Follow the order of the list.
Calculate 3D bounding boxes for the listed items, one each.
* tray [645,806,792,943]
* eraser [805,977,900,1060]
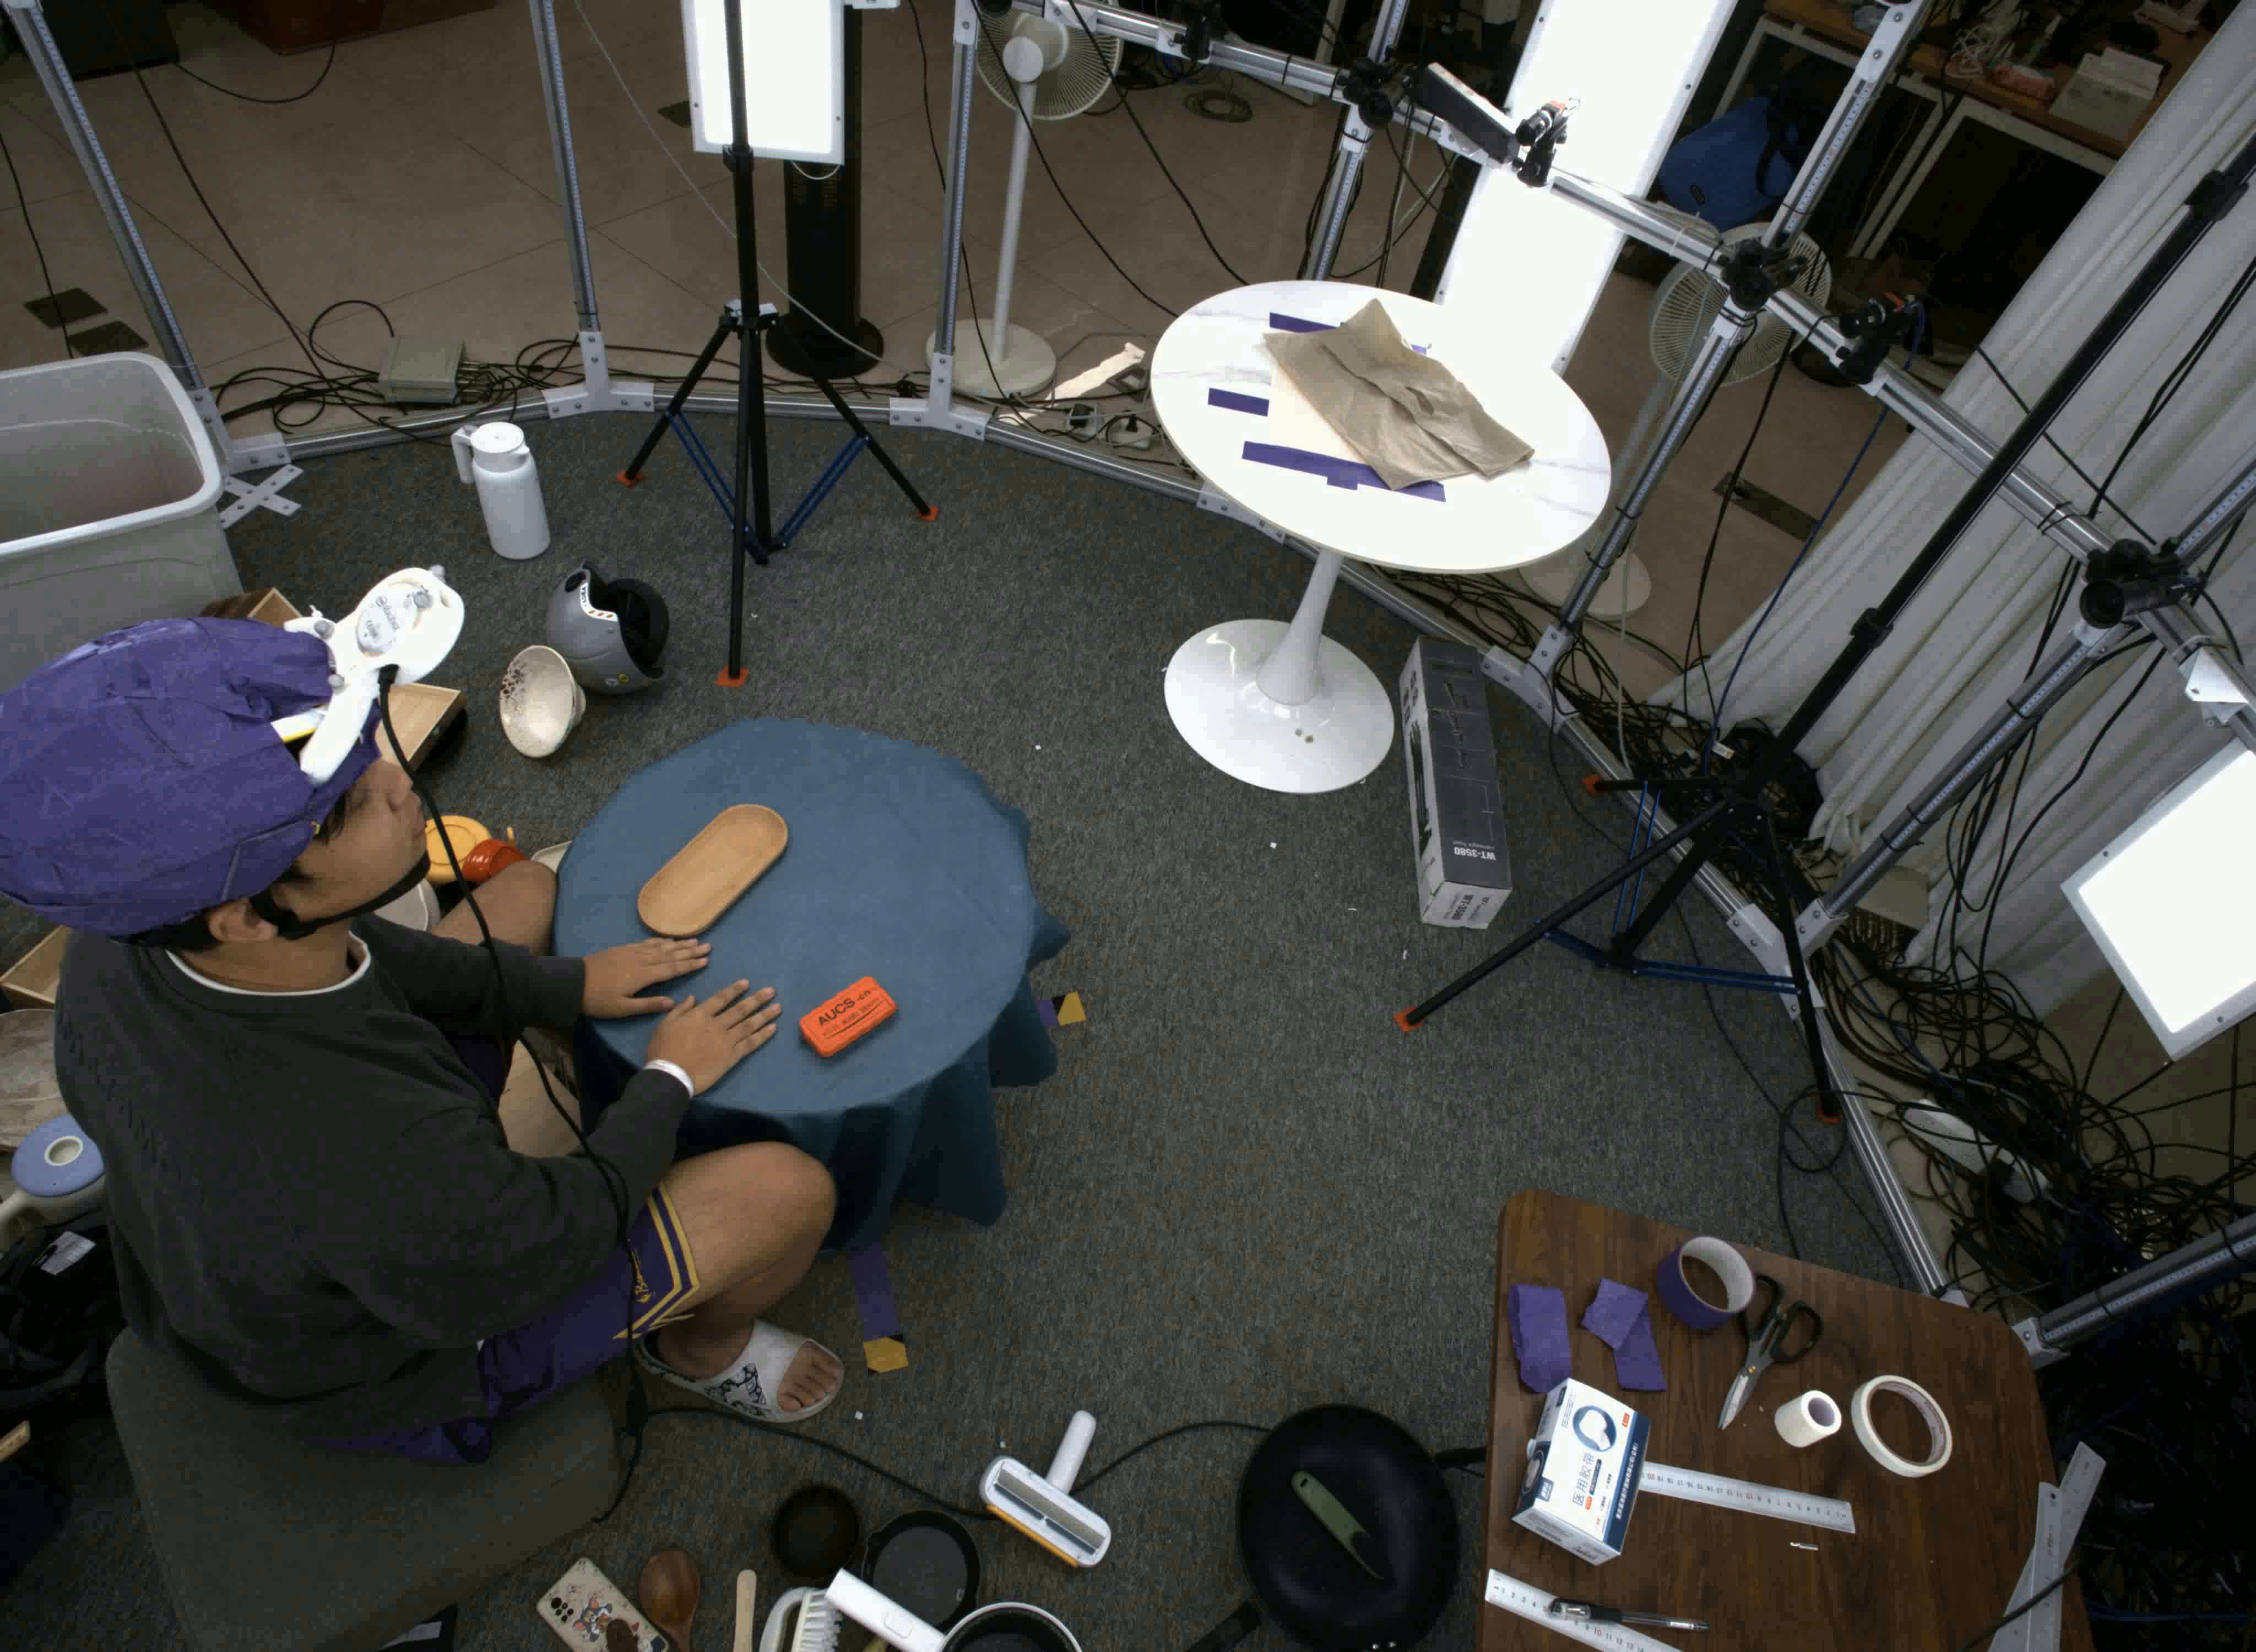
[{"bbox_3d":[-0.521,0.058,1.650,0.100,0.021,0.230,29,53,9],"label":"tray"},{"bbox_3d":[-0.332,0.229,1.566,0.108,0.023,0.058,-33,68,-32],"label":"eraser"}]
